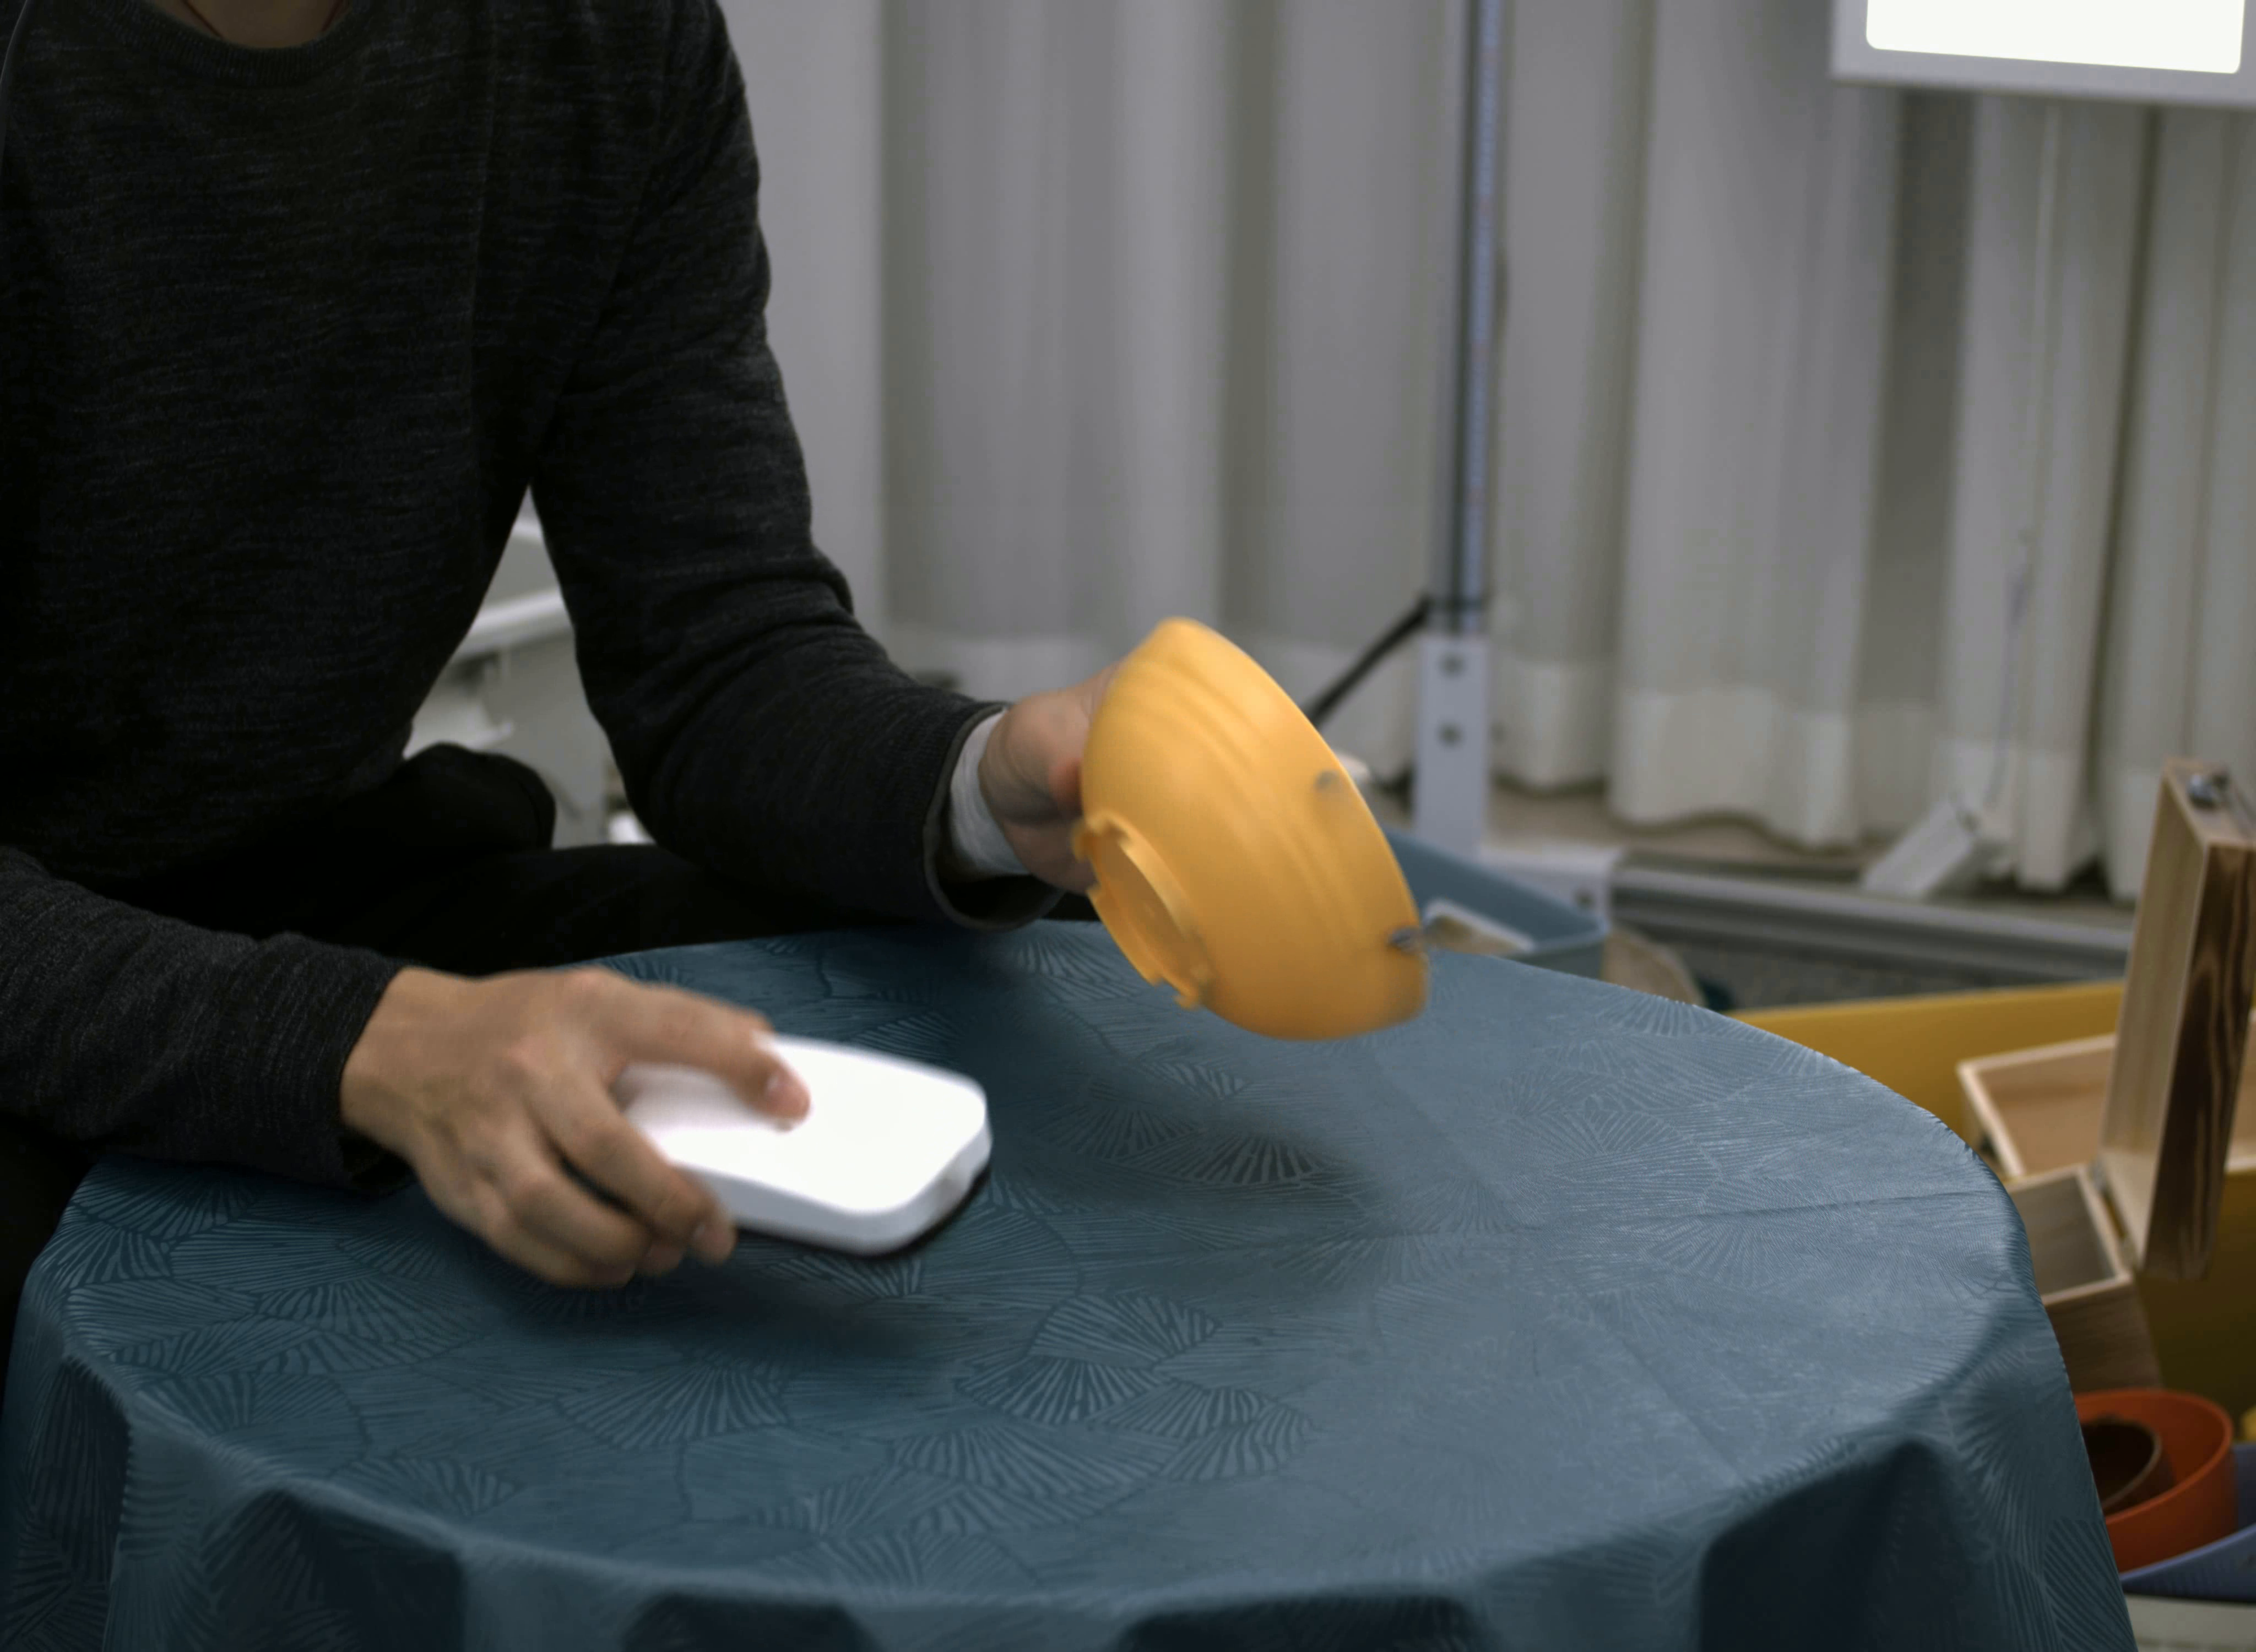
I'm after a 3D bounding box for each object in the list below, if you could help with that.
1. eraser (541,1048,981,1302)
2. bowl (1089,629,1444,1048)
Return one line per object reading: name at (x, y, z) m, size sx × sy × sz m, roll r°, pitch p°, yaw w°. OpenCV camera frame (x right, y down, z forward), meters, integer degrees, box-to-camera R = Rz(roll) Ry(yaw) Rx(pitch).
eraser at (-0.104, 0.097, 1.509) m, size 0.129 × 0.035 × 0.063 m, roll 12°, pitch 37°, yaw 35°
bowl at (0.031, 0.016, 1.617) m, size 0.060 × 0.147 × 0.143 m, roll -35°, pitch 29°, yaw -17°
